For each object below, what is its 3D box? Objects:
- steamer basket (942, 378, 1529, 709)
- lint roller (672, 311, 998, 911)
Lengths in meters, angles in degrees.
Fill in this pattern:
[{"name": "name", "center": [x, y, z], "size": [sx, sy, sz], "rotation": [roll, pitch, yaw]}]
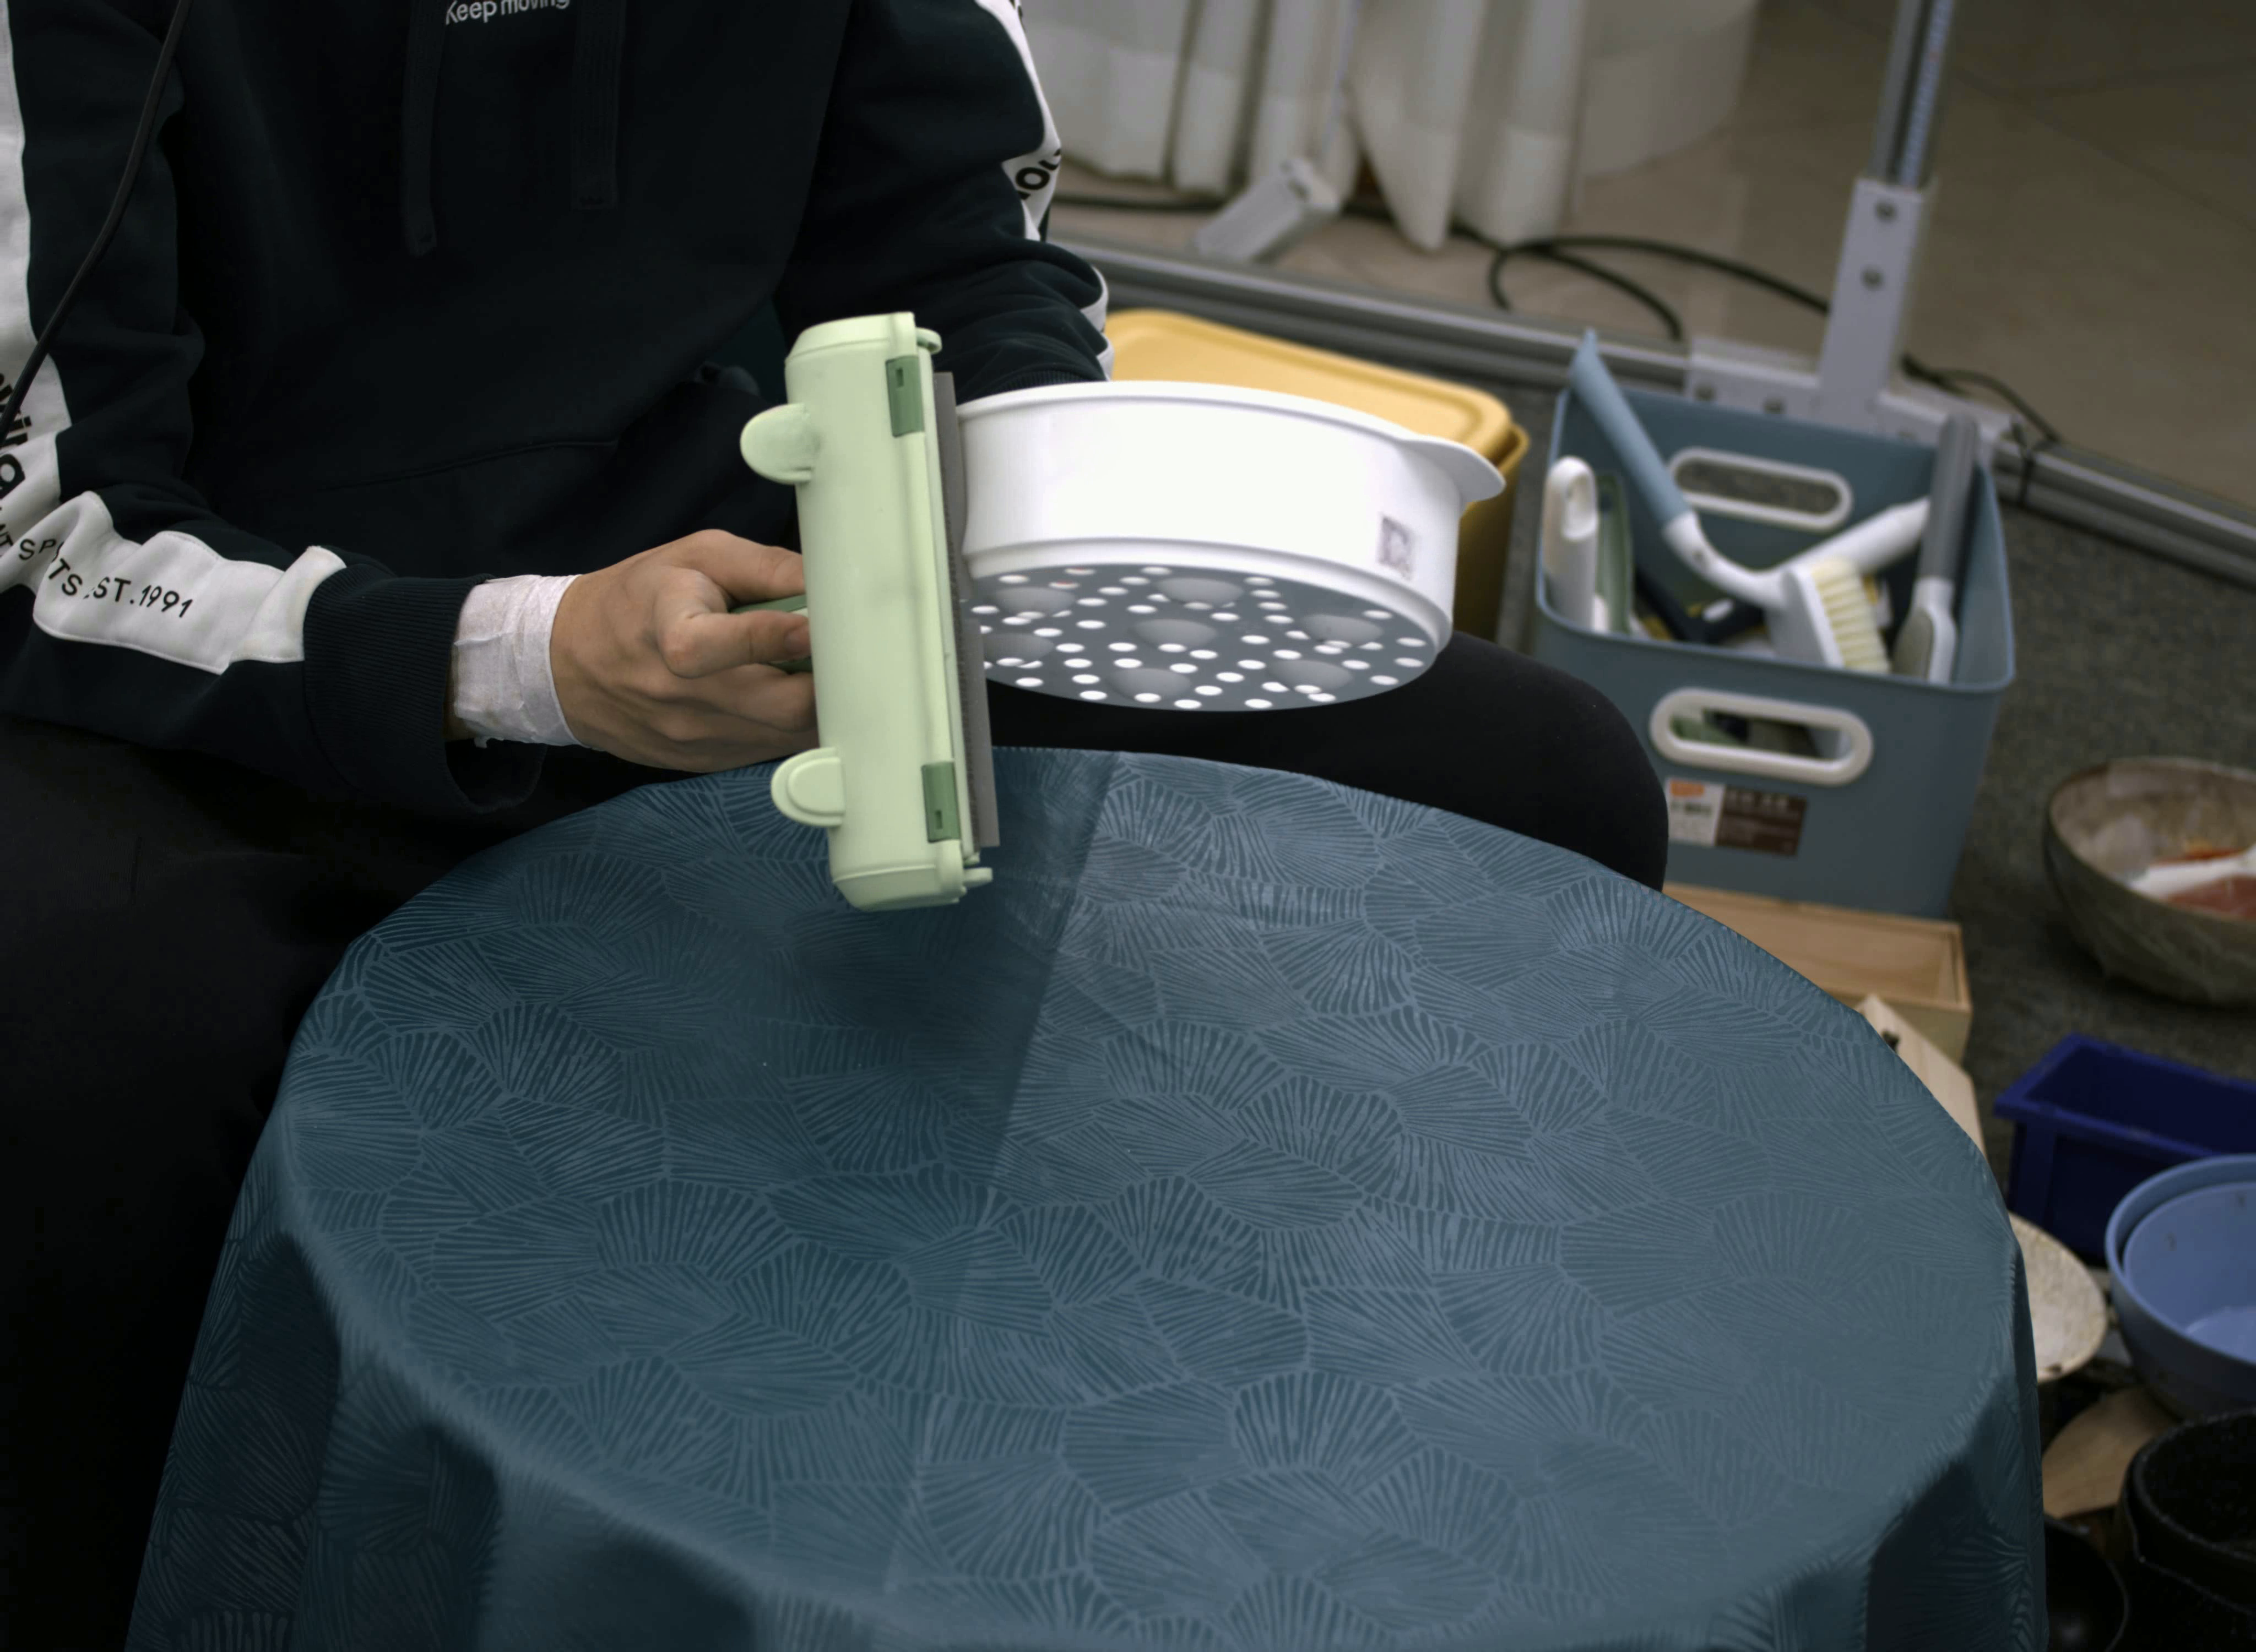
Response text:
[{"name": "steamer basket", "center": [0.024, -0.093, 1.855], "size": [0.231, 0.069, 0.200], "rotation": [0, -14, 22]}, {"name": "lint roller", "center": [-0.122, -0.064, 1.816], "size": [0.081, 0.199, 0.184], "rotation": [-1, -7, -42]}]
